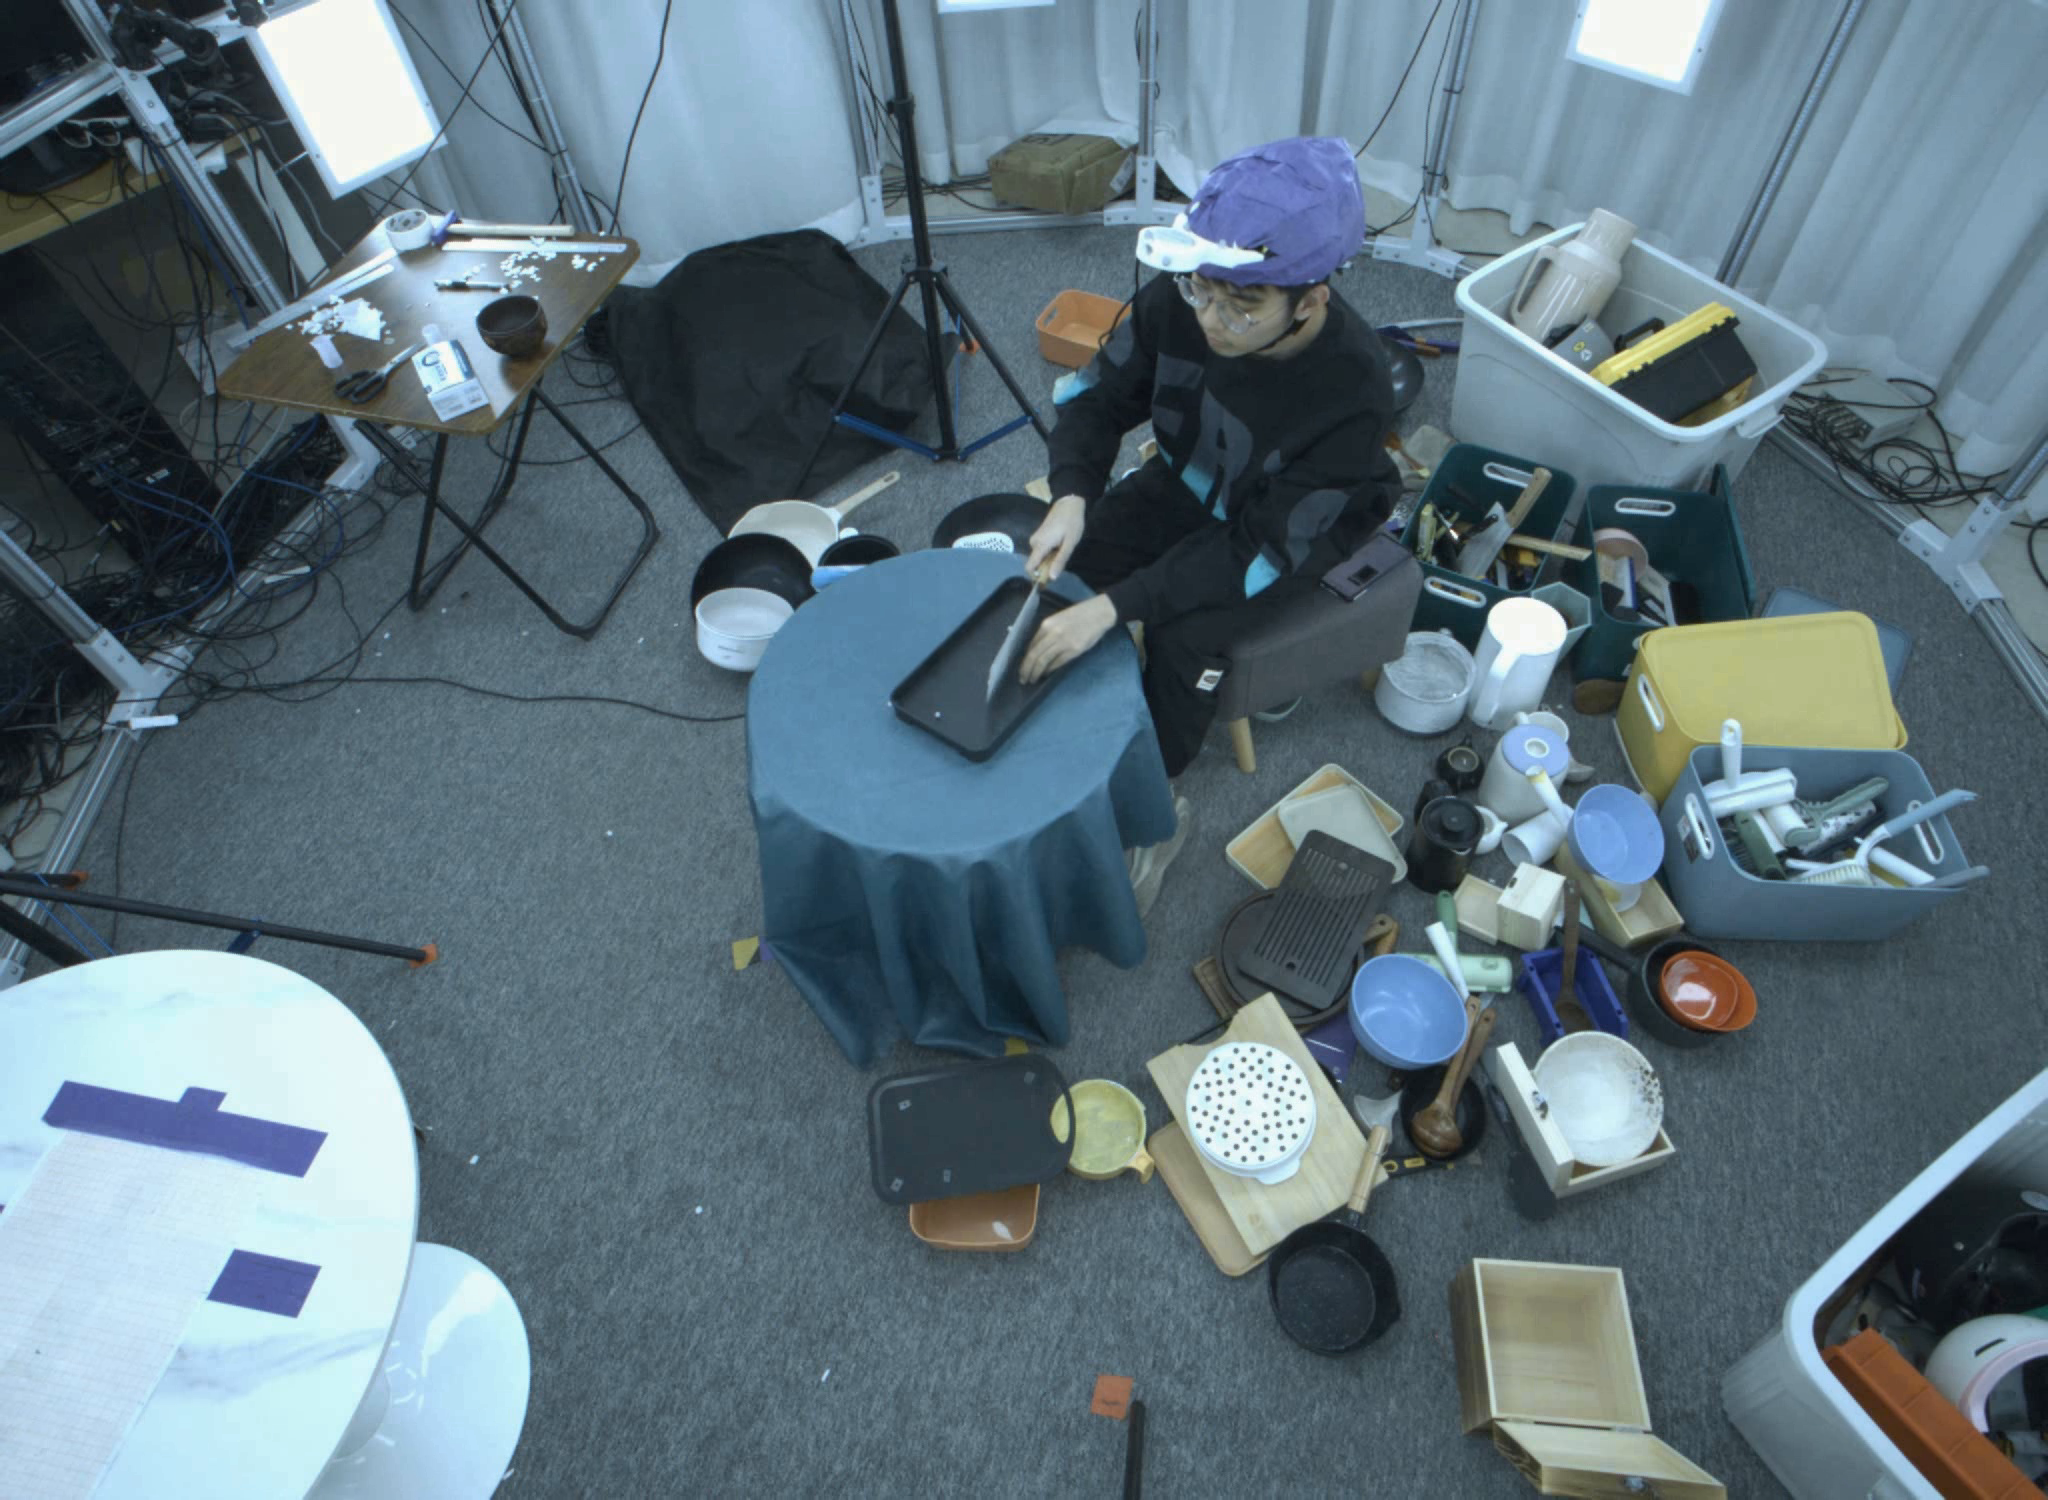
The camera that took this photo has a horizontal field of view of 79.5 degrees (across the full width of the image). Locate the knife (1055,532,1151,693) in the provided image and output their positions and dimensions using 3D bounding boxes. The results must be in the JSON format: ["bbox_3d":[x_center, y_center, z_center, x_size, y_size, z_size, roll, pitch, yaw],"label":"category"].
[{"bbox_3d":[0.117,-0.206,1.857,0.021,0.093,0.306,26,59,10],"label":"knife"}]

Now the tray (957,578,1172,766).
[{"bbox_3d":[0.064,-0.123,1.850,0.181,0.037,0.320,33,62,23],"label":"tray"}]
